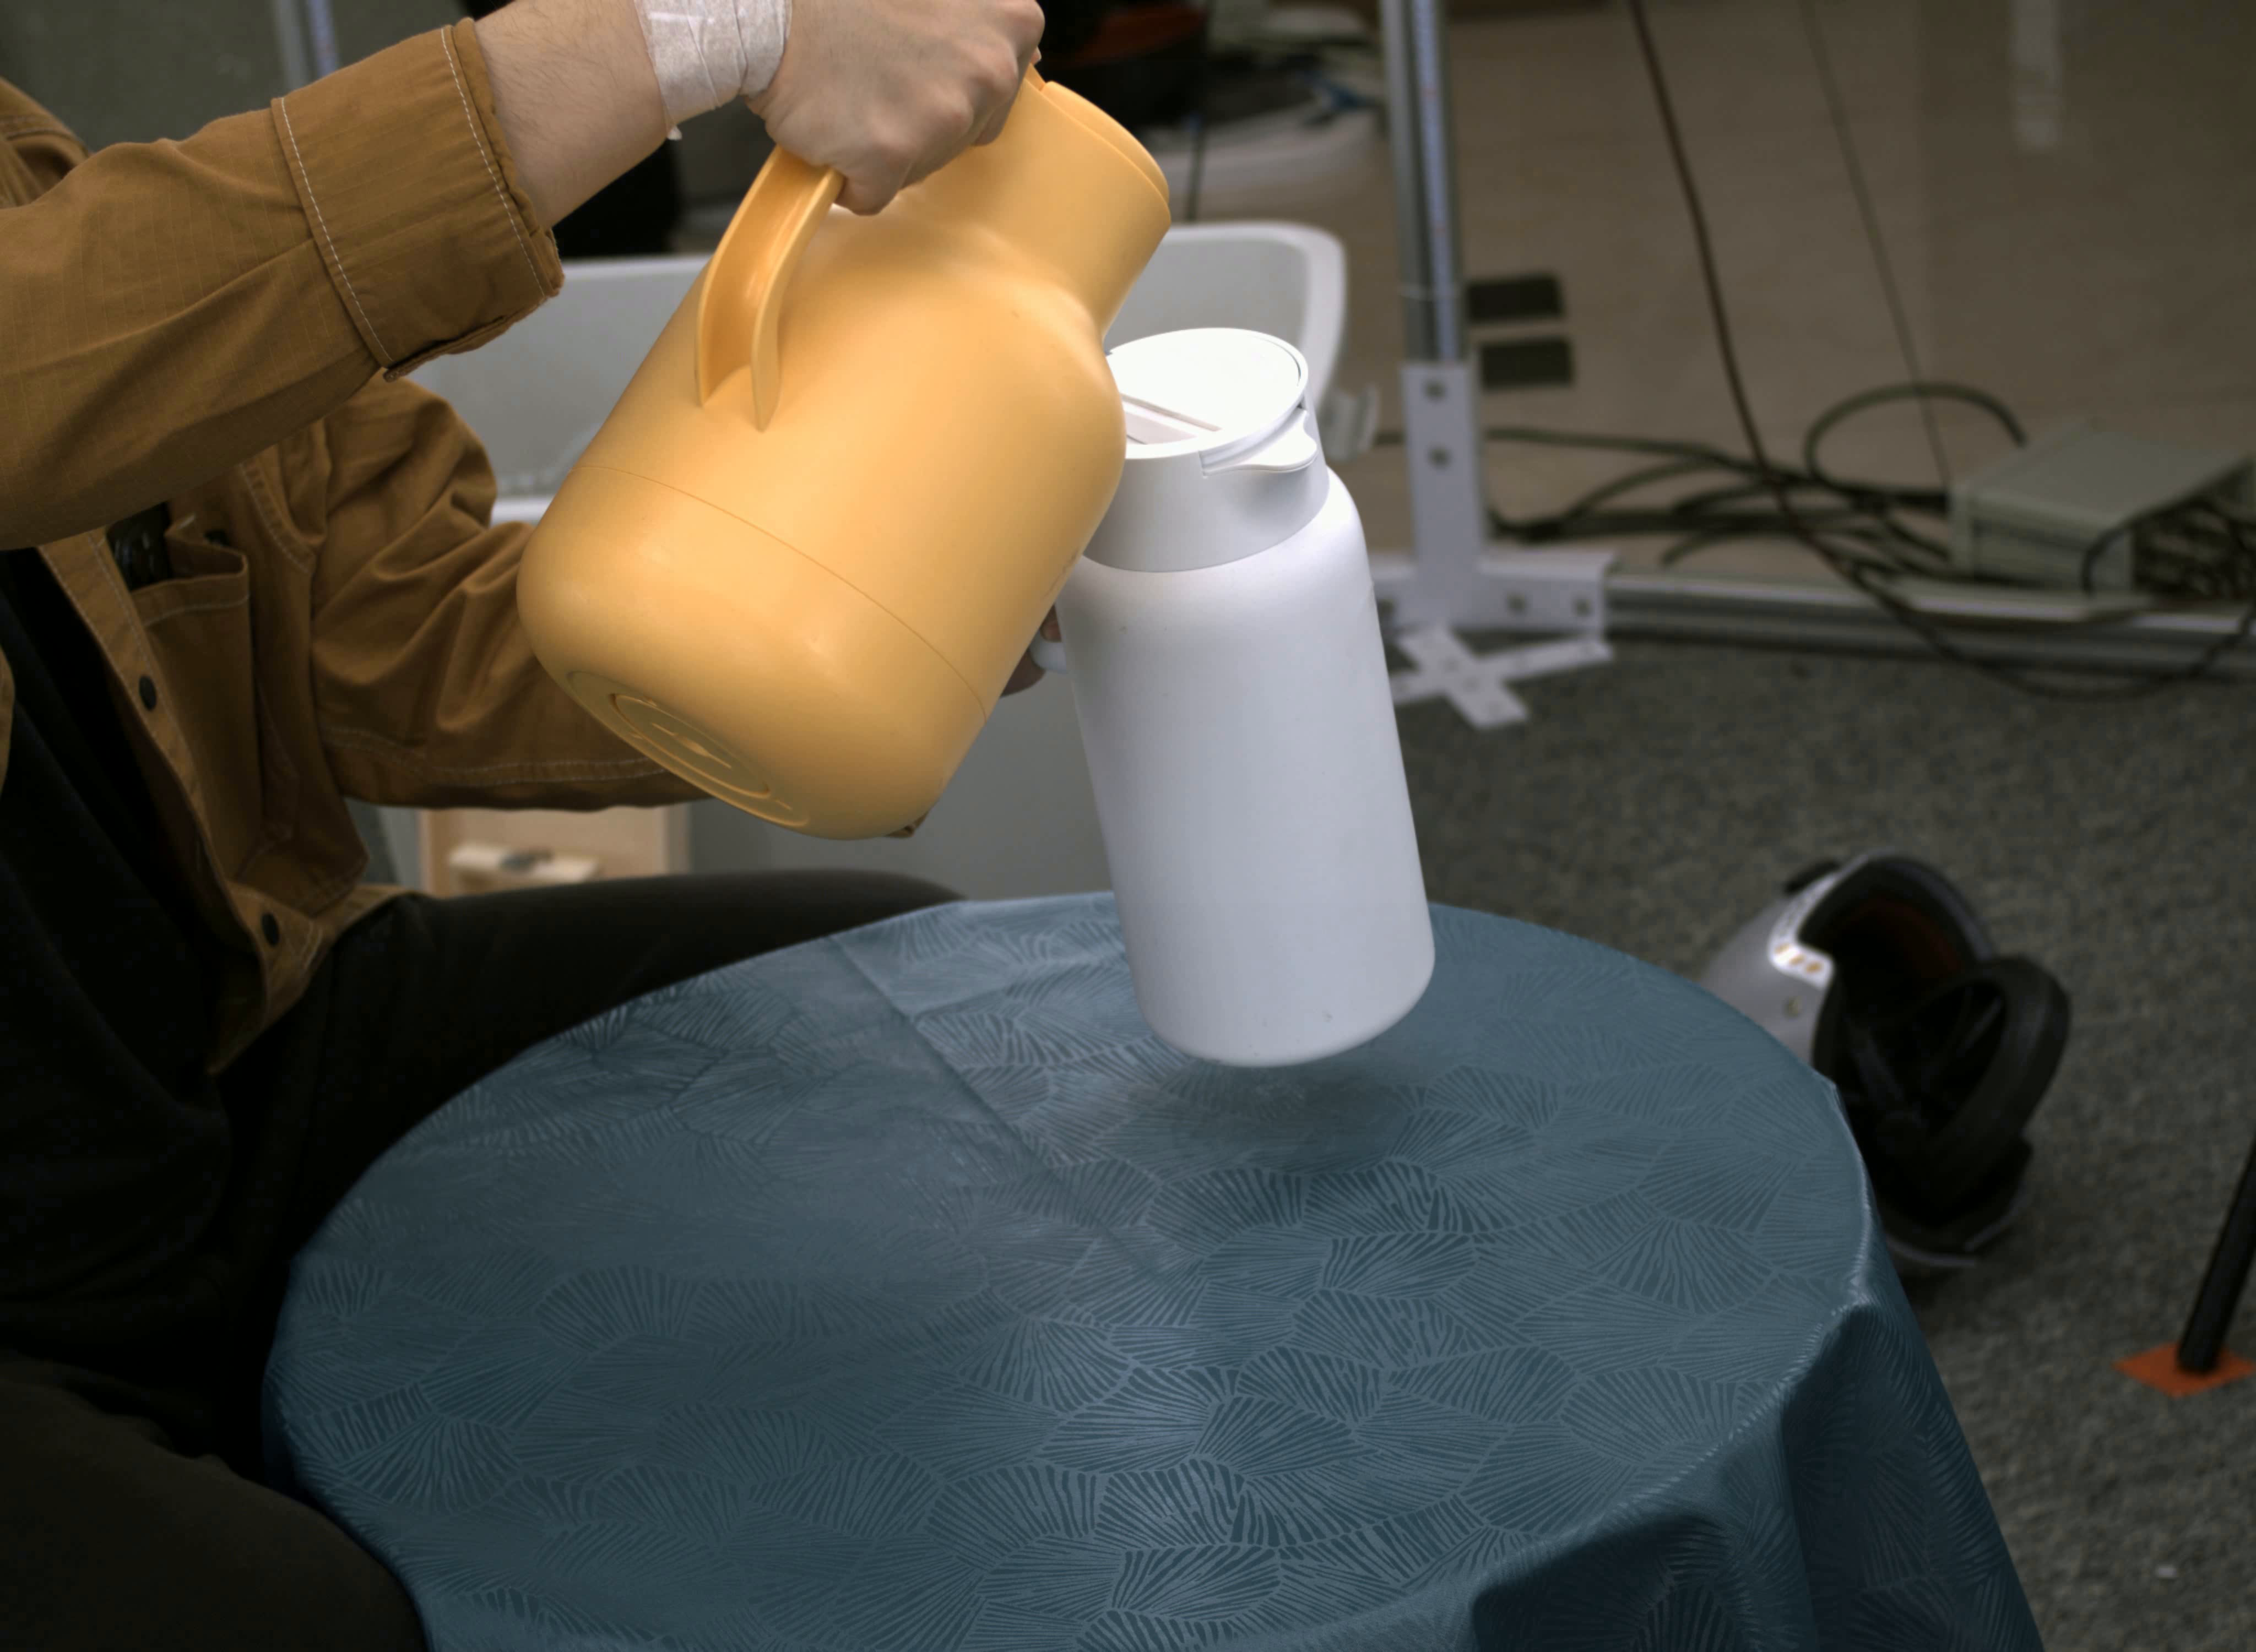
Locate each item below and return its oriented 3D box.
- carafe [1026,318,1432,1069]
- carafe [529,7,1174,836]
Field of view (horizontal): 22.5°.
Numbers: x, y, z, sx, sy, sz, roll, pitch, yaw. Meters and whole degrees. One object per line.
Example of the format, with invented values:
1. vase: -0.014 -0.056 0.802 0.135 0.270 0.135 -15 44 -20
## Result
1. carafe: 0.026 -0.051 2.123 0.122 0.274 0.171 -36 40 -30
2. carafe: -0.089 -0.145 1.902 0.162 0.205 0.258 20 73 30
